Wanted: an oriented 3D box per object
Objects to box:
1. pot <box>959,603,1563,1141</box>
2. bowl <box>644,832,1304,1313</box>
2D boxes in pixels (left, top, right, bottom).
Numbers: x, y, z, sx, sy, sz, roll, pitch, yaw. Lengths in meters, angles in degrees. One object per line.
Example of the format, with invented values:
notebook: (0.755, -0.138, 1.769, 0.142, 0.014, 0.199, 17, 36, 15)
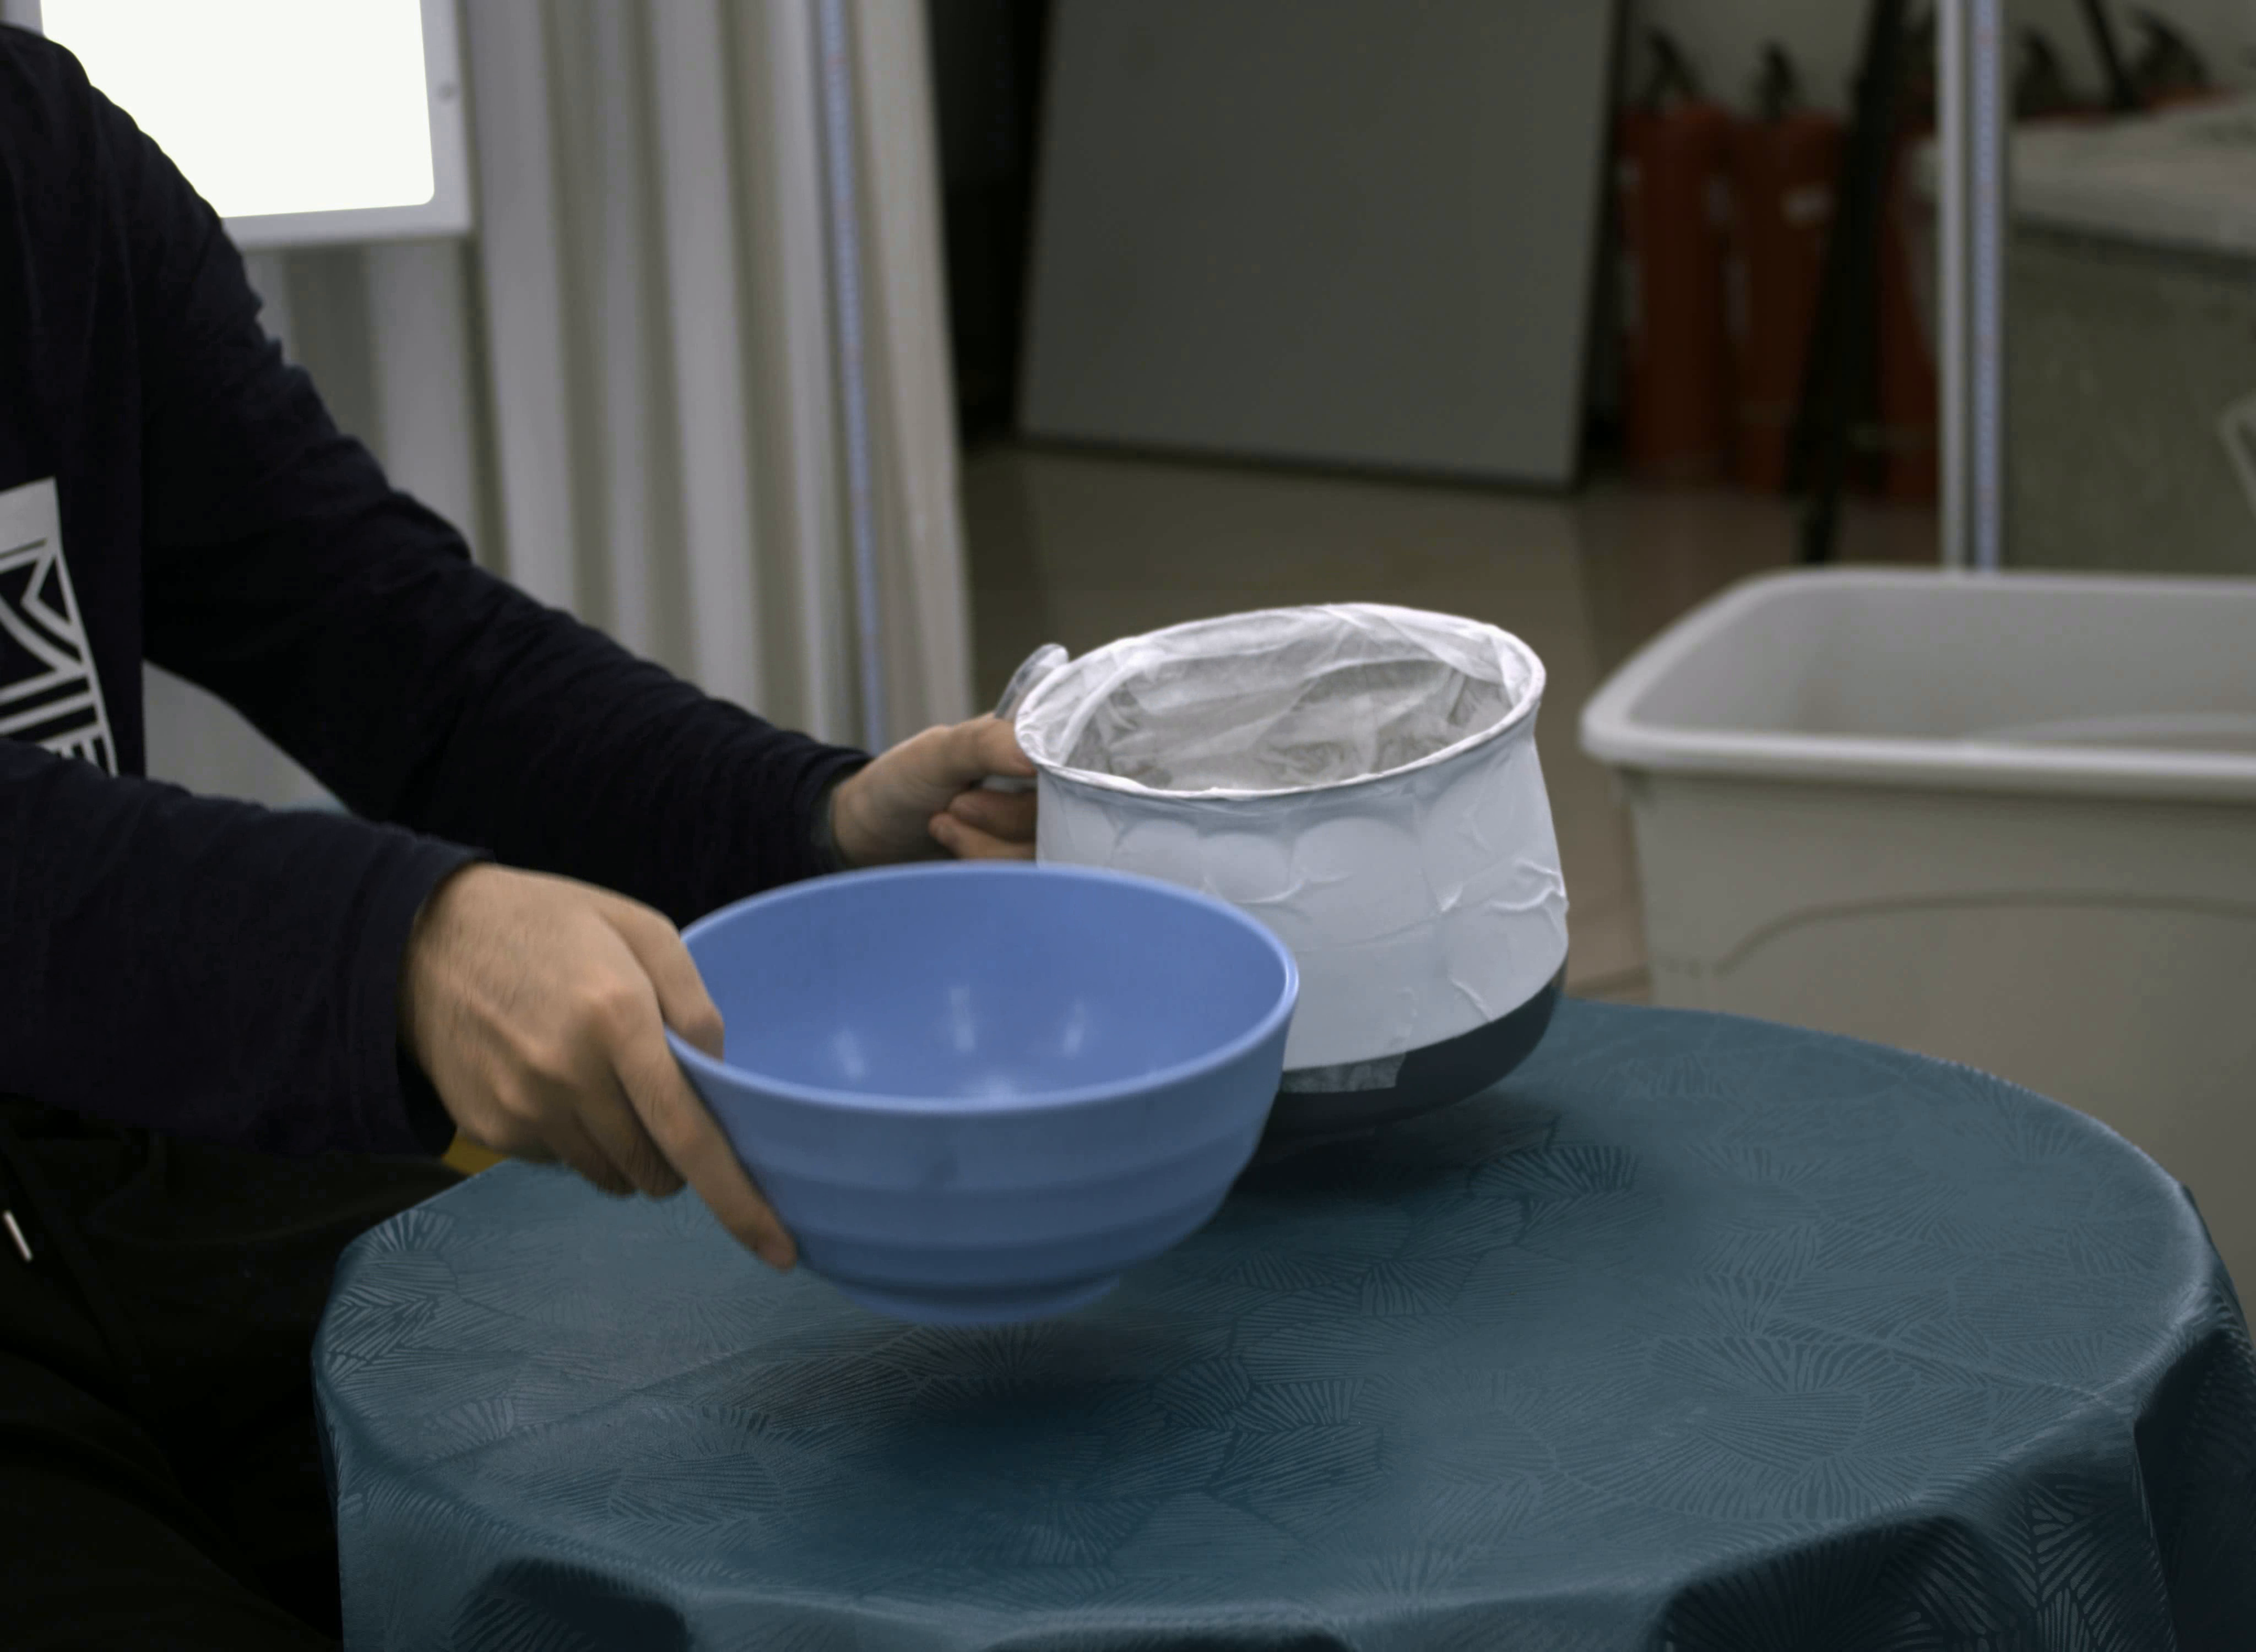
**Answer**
pot: (0.034, 0.010, 1.809, 0.235, 0.138, 0.175, 10, 24, 37)
bowl: (-0.045, 0.081, 1.603, 0.194, 0.096, 0.197, 0, 22, -1)
